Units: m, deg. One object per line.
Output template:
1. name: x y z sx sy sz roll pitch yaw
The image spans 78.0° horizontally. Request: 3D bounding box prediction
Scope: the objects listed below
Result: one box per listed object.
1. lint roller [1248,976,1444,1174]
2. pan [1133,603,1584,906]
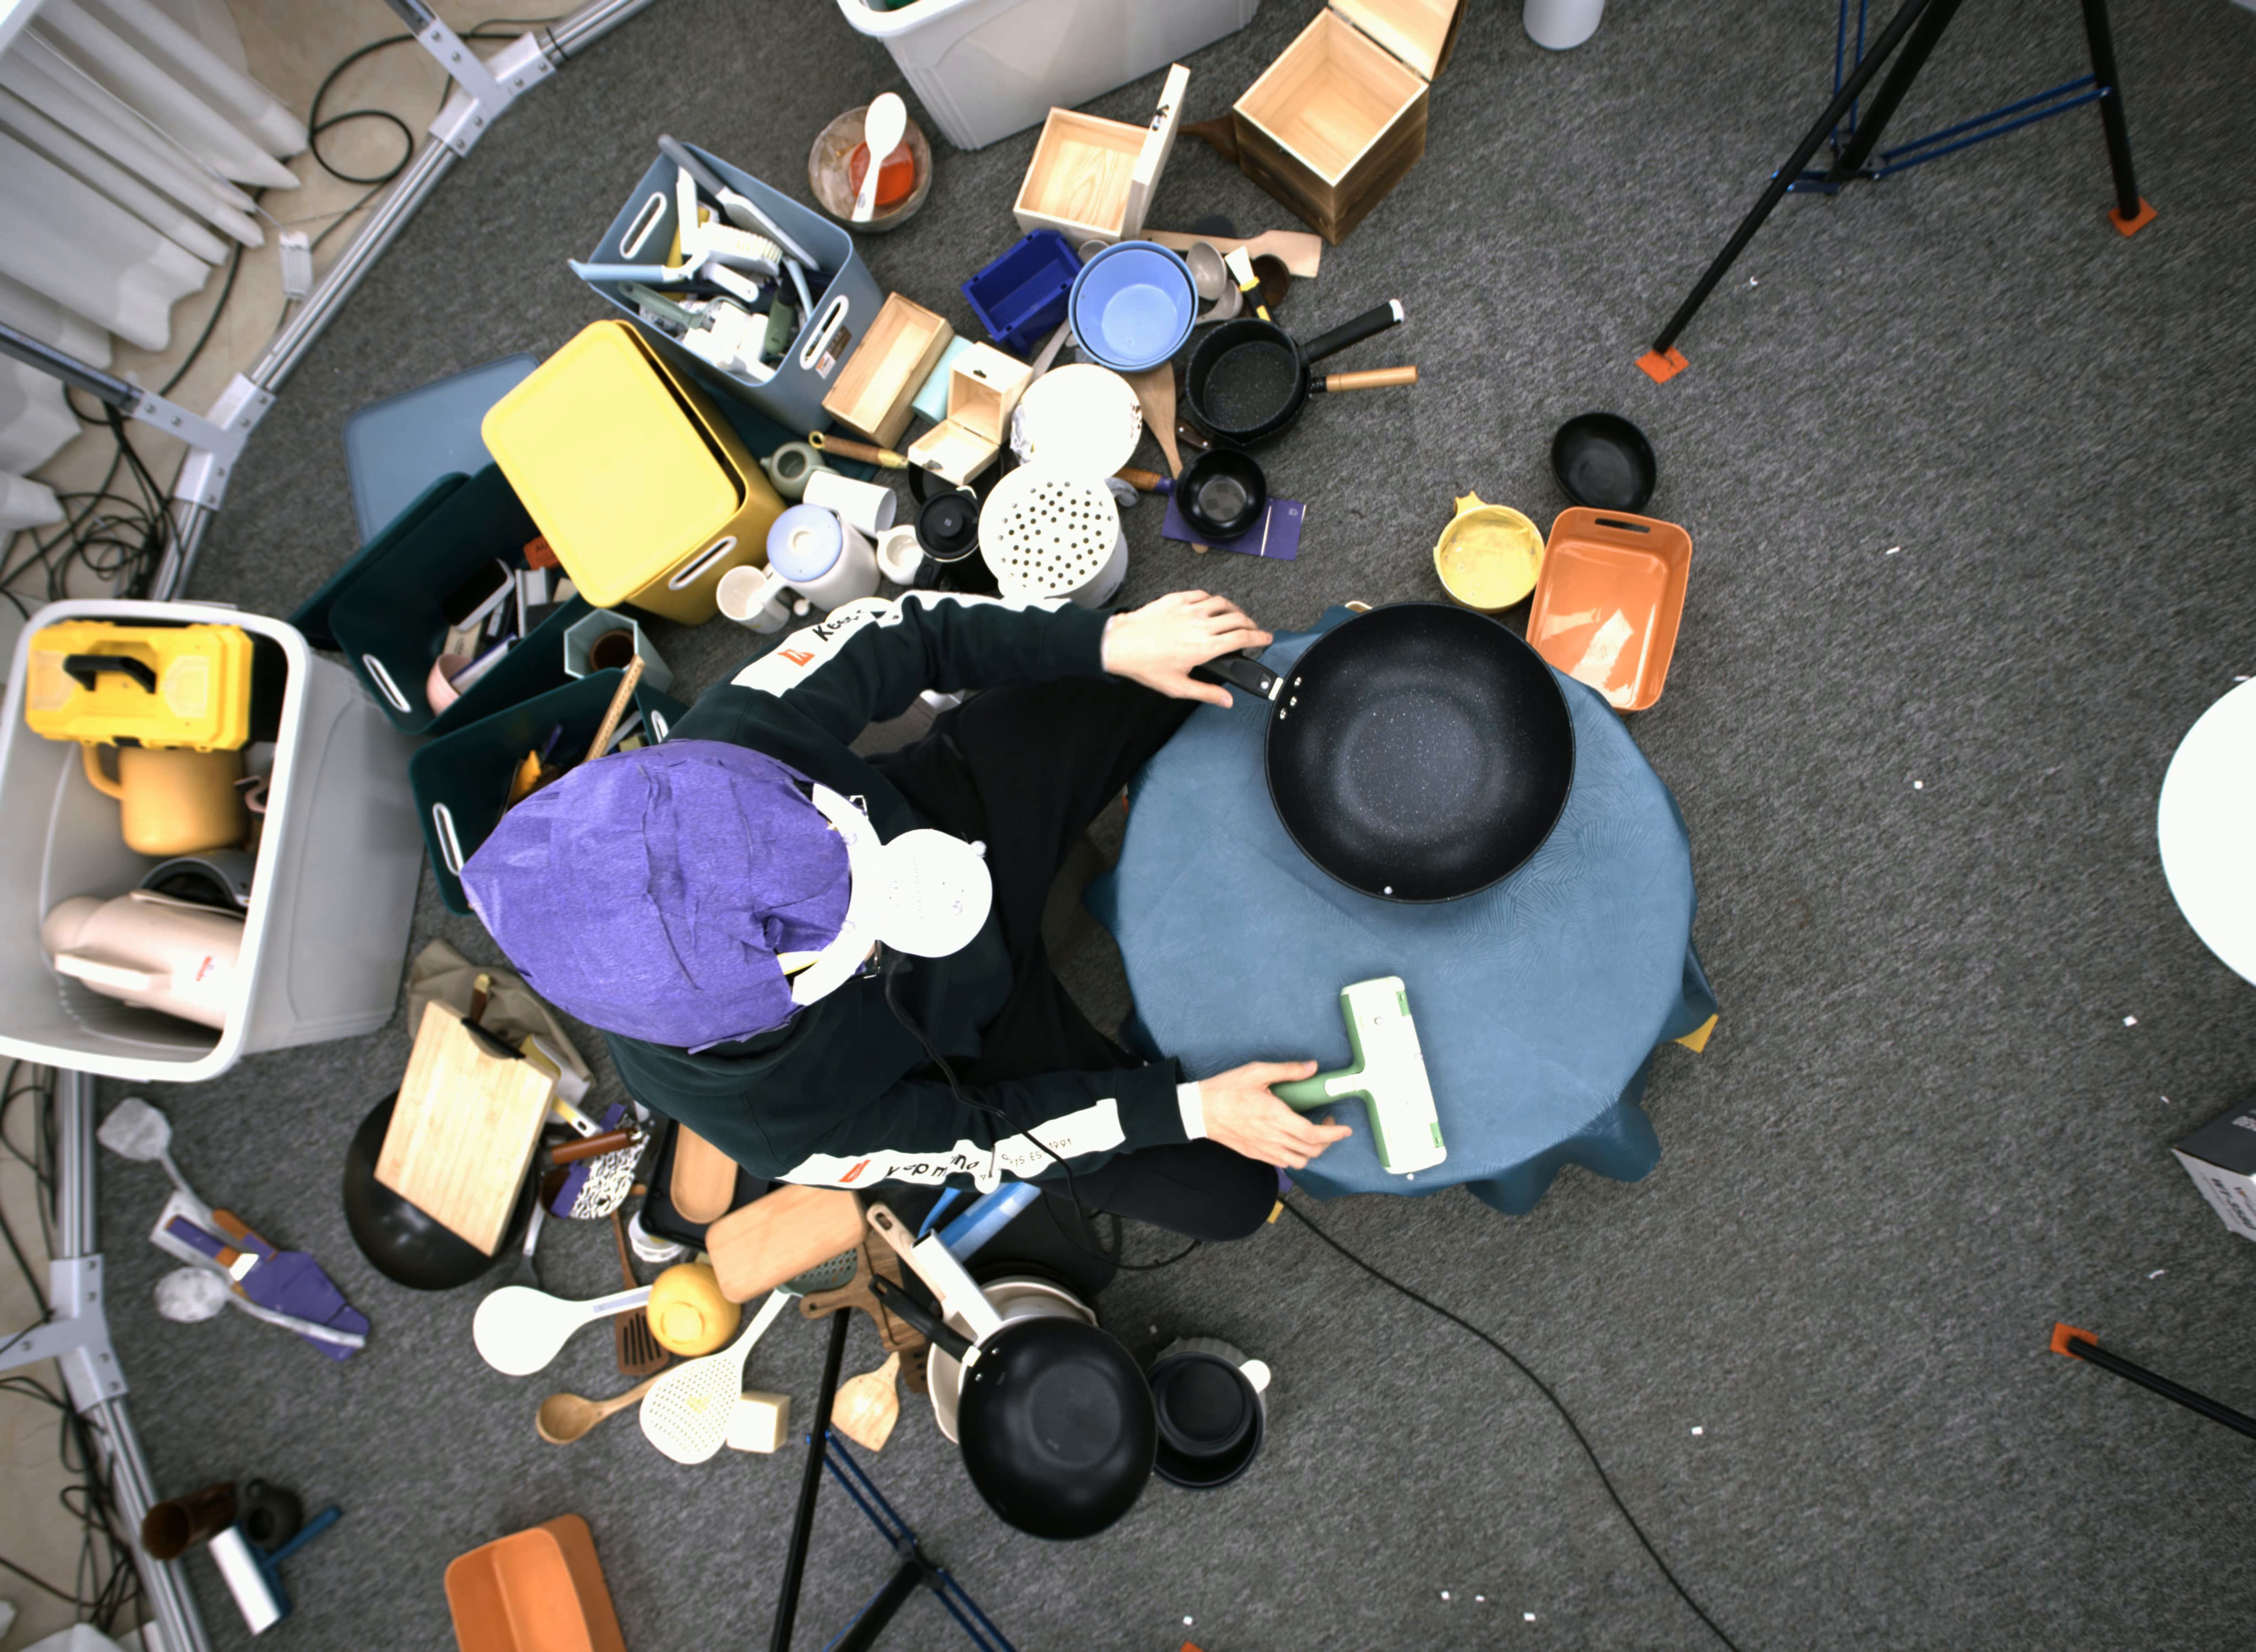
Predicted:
1. lint roller: 0.213 0.266 1.418 0.184 0.082 0.197 -13 85 4
2. pan: 0.228 -0.107 1.419 0.476 0.112 0.310 25 90 10
